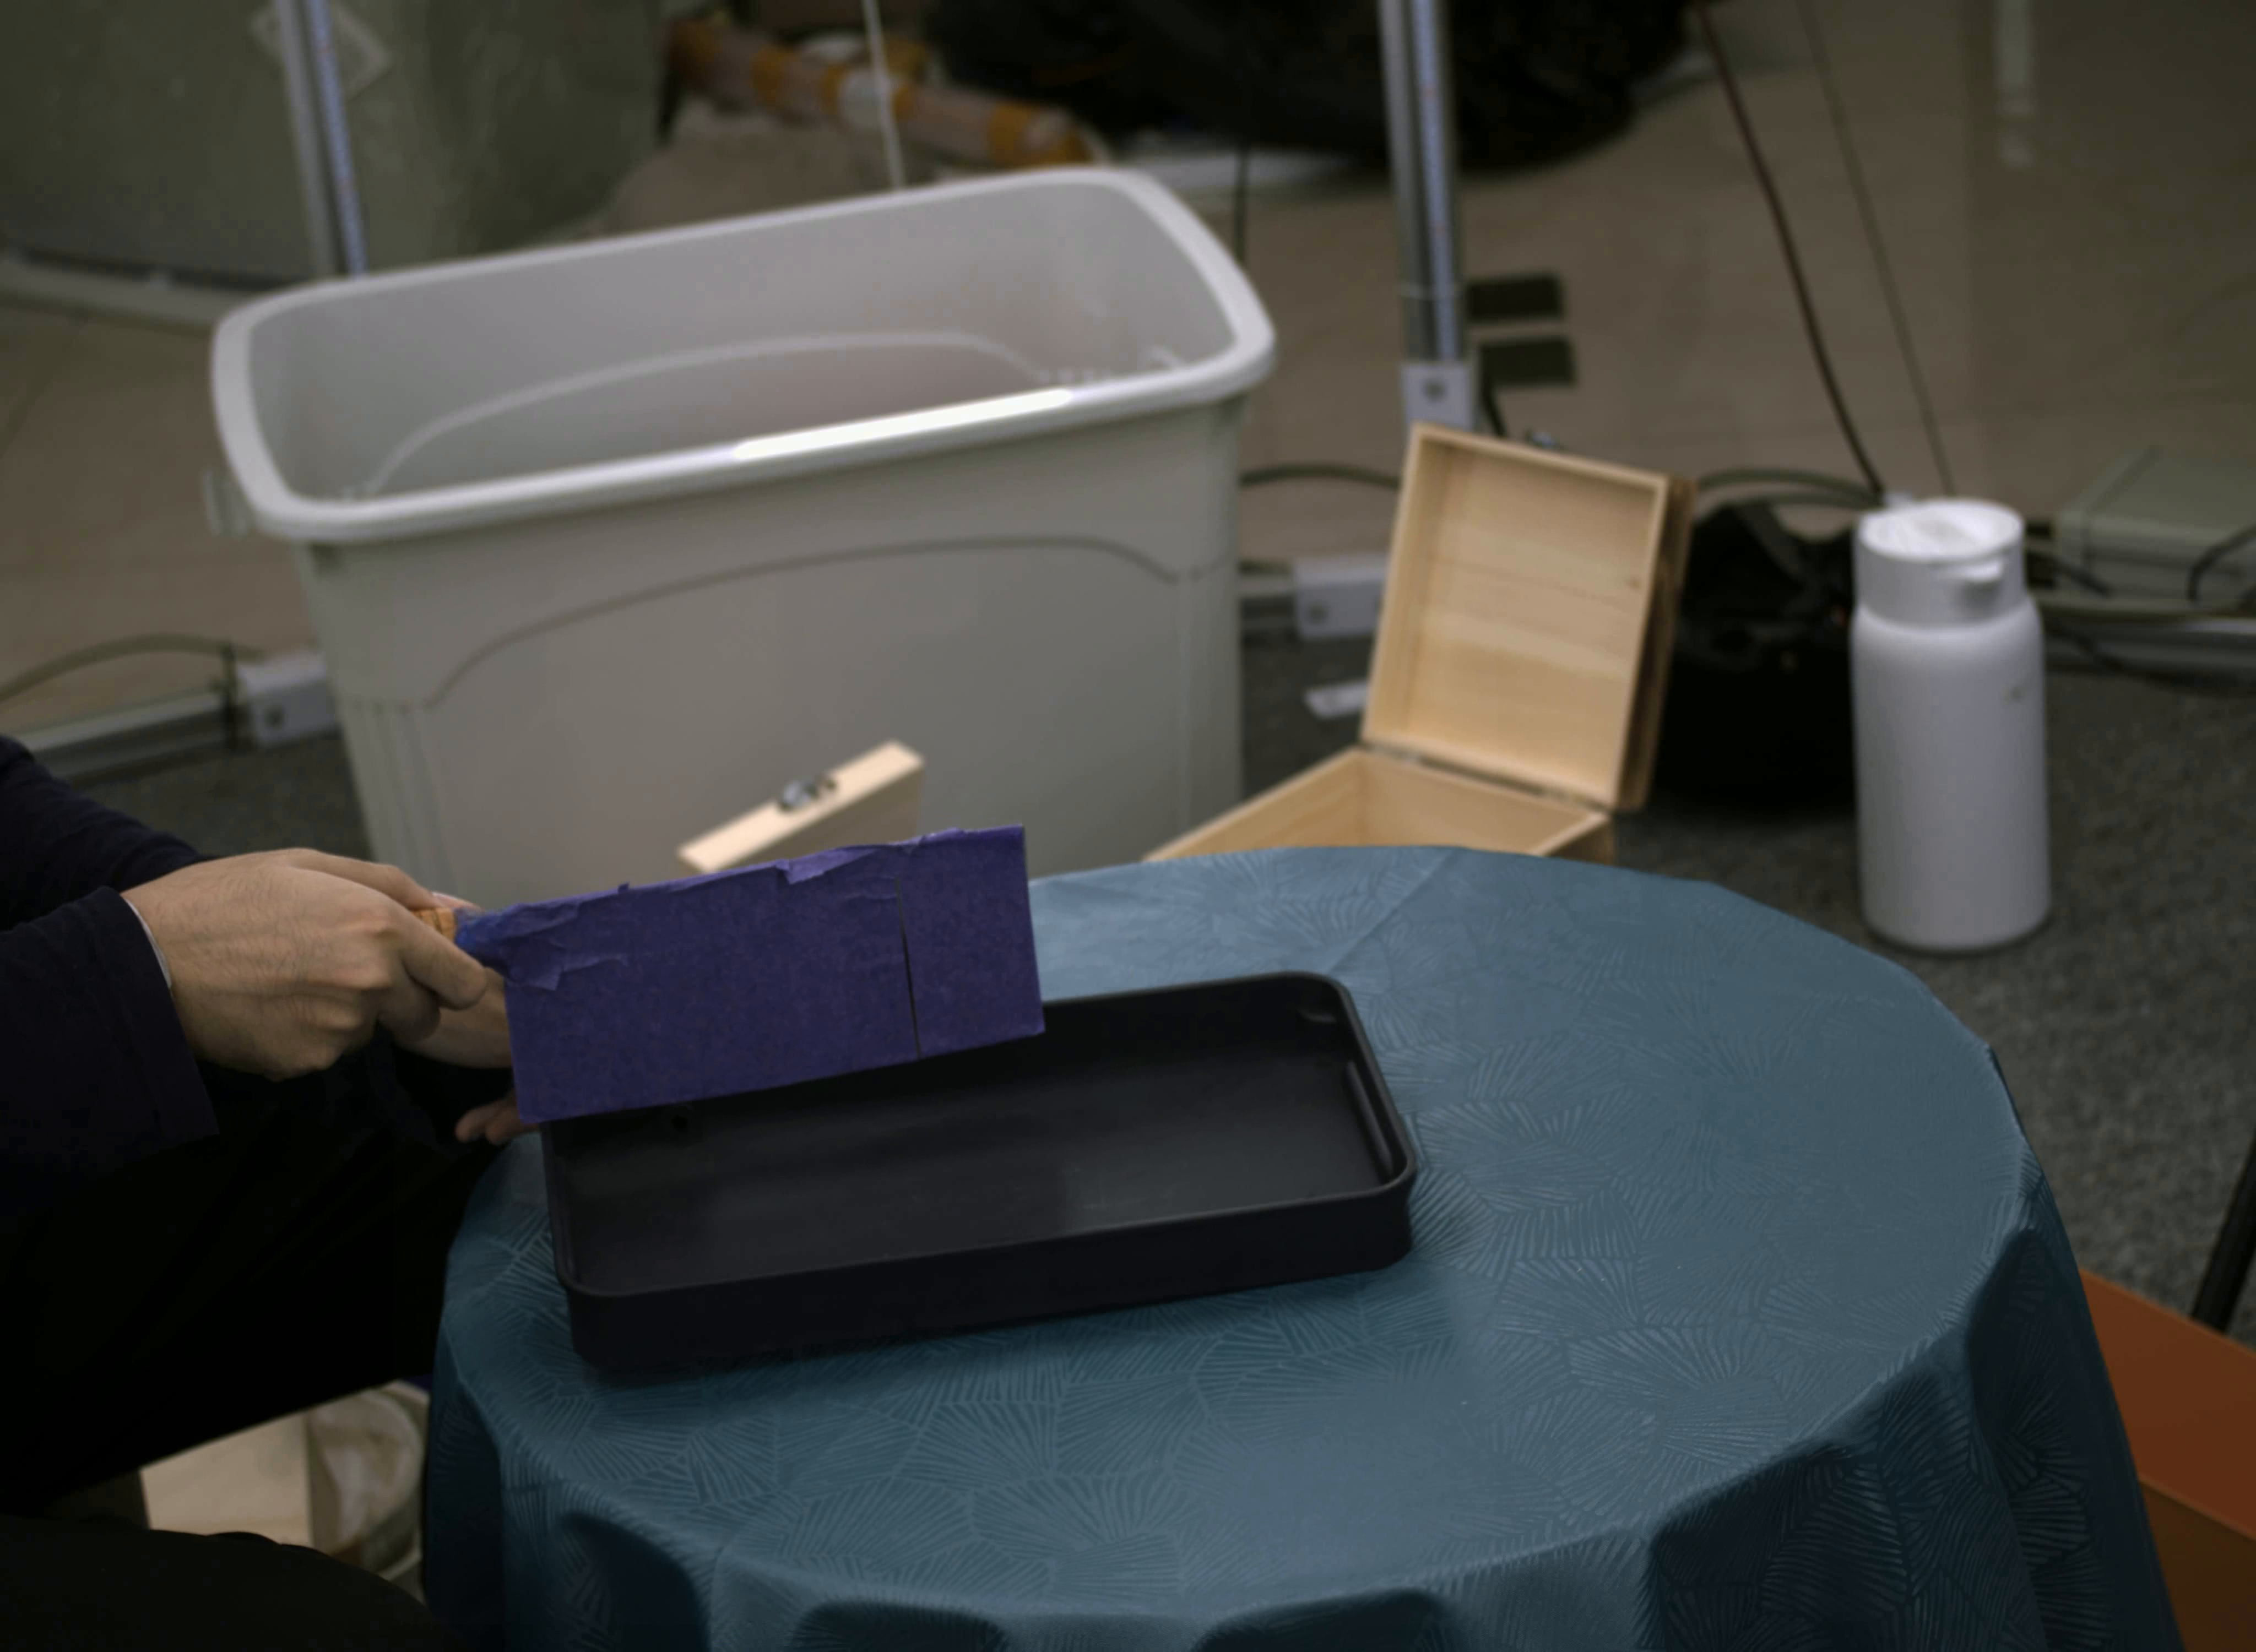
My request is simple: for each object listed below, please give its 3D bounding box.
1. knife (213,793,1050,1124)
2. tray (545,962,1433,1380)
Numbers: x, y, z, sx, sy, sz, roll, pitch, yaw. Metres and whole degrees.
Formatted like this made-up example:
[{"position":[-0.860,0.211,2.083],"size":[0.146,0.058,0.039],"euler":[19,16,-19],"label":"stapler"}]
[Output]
[{"position":[-0.182,0.063,2.132],"size":[0.314,0.105,0.032],"euler":[-10,21,-11],"label":"knife"},{"position":[-0.055,0.127,2.134],"size":[0.317,0.037,0.181],"euler":[-8,27,-7],"label":"tray"}]
